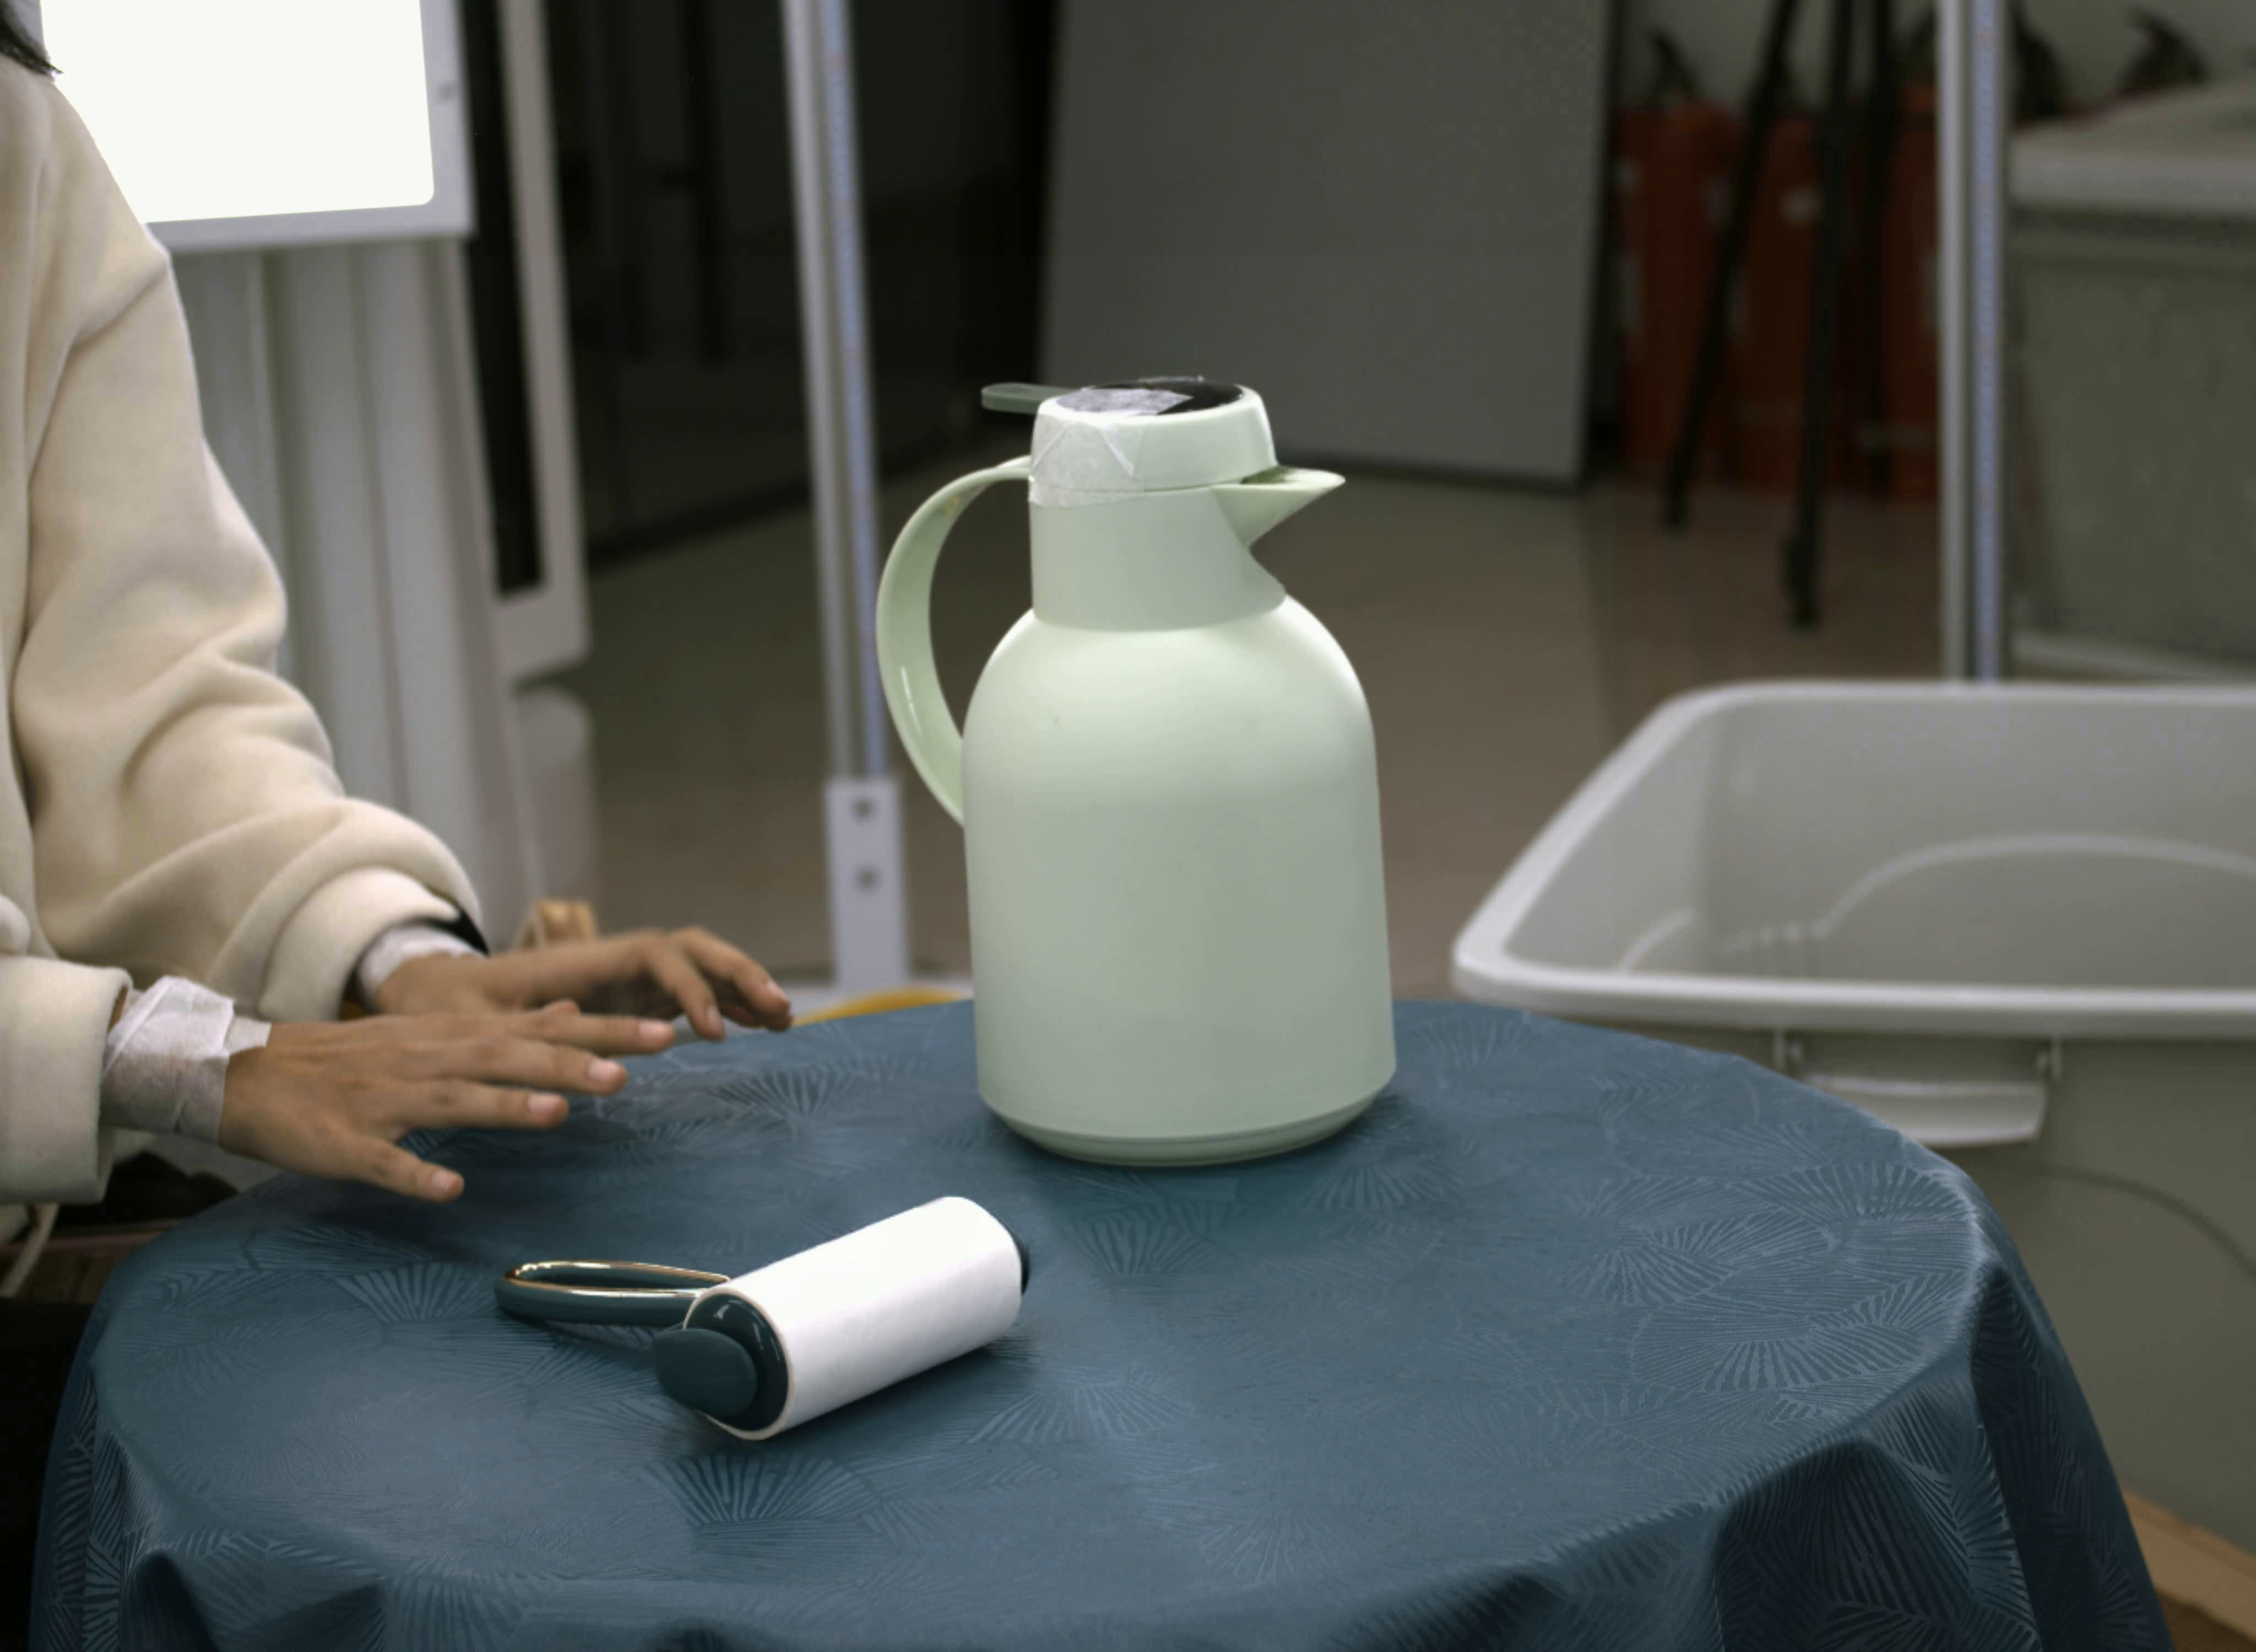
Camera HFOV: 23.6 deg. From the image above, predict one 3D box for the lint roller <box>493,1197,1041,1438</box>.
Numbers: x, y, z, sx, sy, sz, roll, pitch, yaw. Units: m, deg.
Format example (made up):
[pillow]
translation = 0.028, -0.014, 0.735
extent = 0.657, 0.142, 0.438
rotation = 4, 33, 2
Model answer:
[lint roller]
translation = -0.130, 0.137, 1.642
extent = 0.181, 0.049, 0.131
rotation = 9, 18, 42

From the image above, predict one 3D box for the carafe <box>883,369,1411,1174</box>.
[carafe]
translation = 0.004, -0.023, 1.829
extent = 0.188, 0.259, 0.142
rotation = 1, 15, 36
